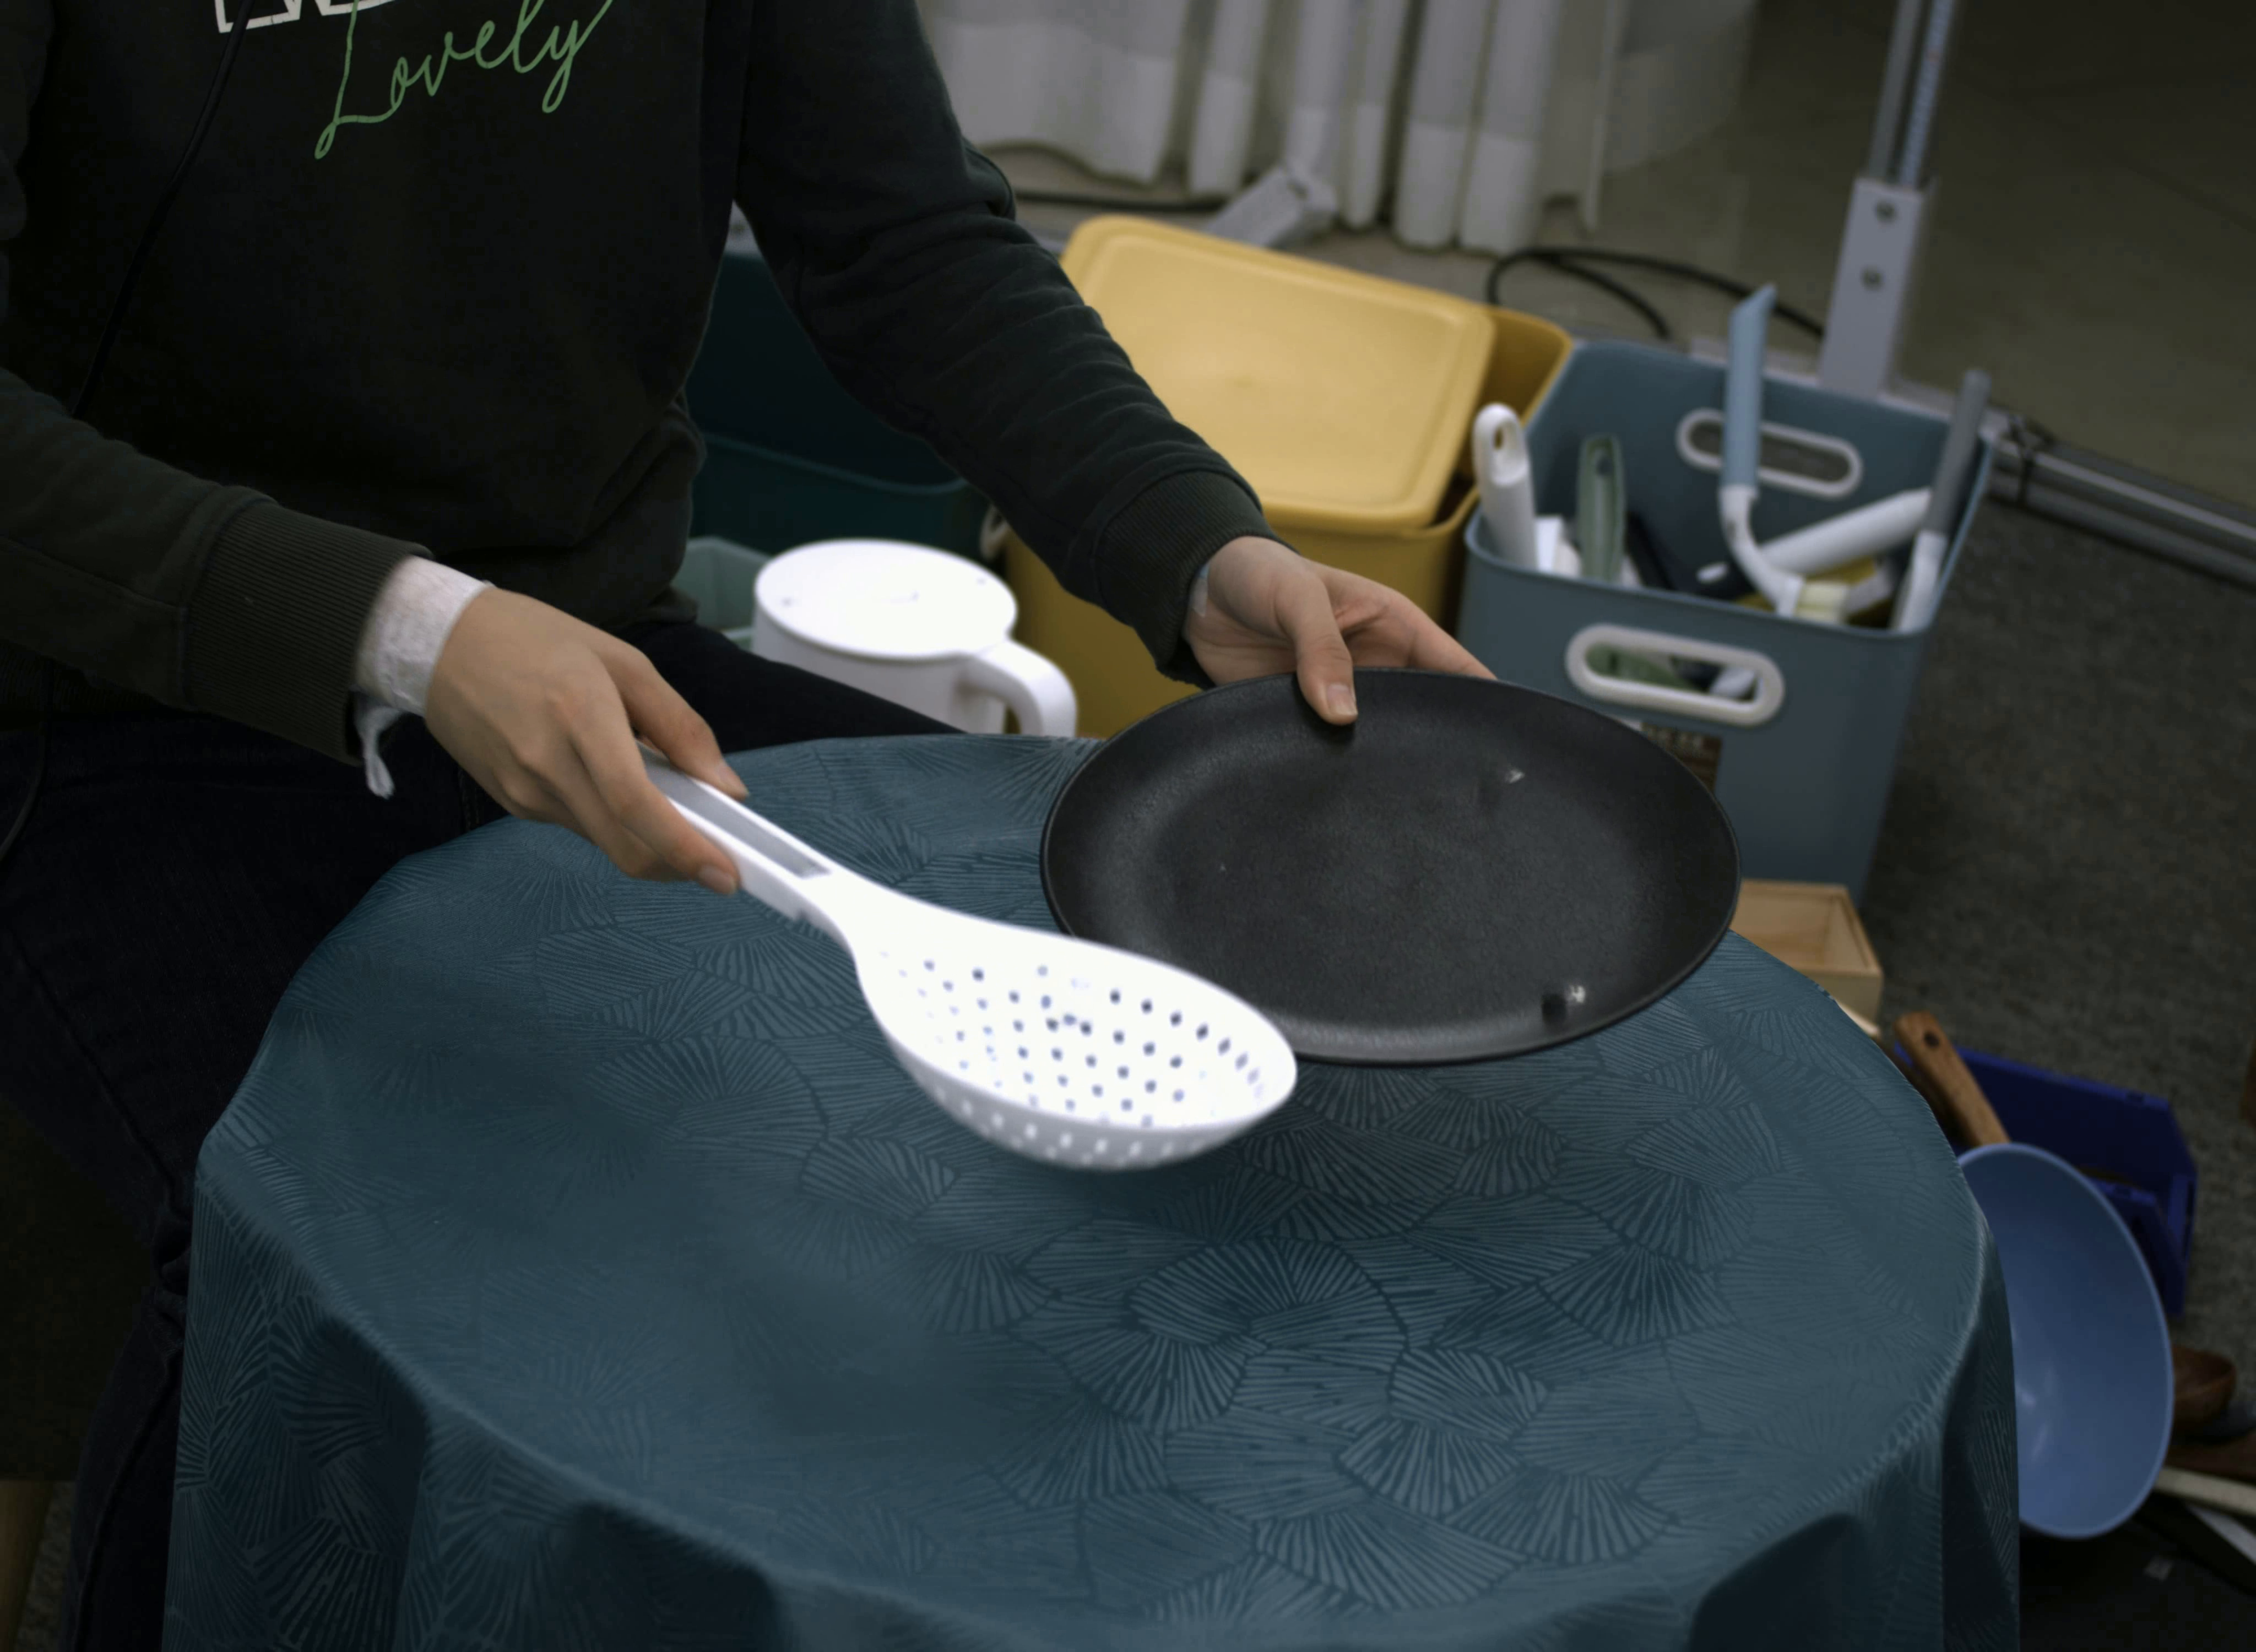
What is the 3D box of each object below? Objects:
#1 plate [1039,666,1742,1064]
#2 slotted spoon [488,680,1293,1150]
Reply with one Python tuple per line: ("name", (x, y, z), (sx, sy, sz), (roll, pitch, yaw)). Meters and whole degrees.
("plate", (0.090, 0.016, 1.844), (0.244, 0.023, 0.246), (-1, 33, 0))
("slotted spoon", (-0.092, 0.023, 1.727), (0.135, 0.045, 0.352), (-9, 33, -46))
